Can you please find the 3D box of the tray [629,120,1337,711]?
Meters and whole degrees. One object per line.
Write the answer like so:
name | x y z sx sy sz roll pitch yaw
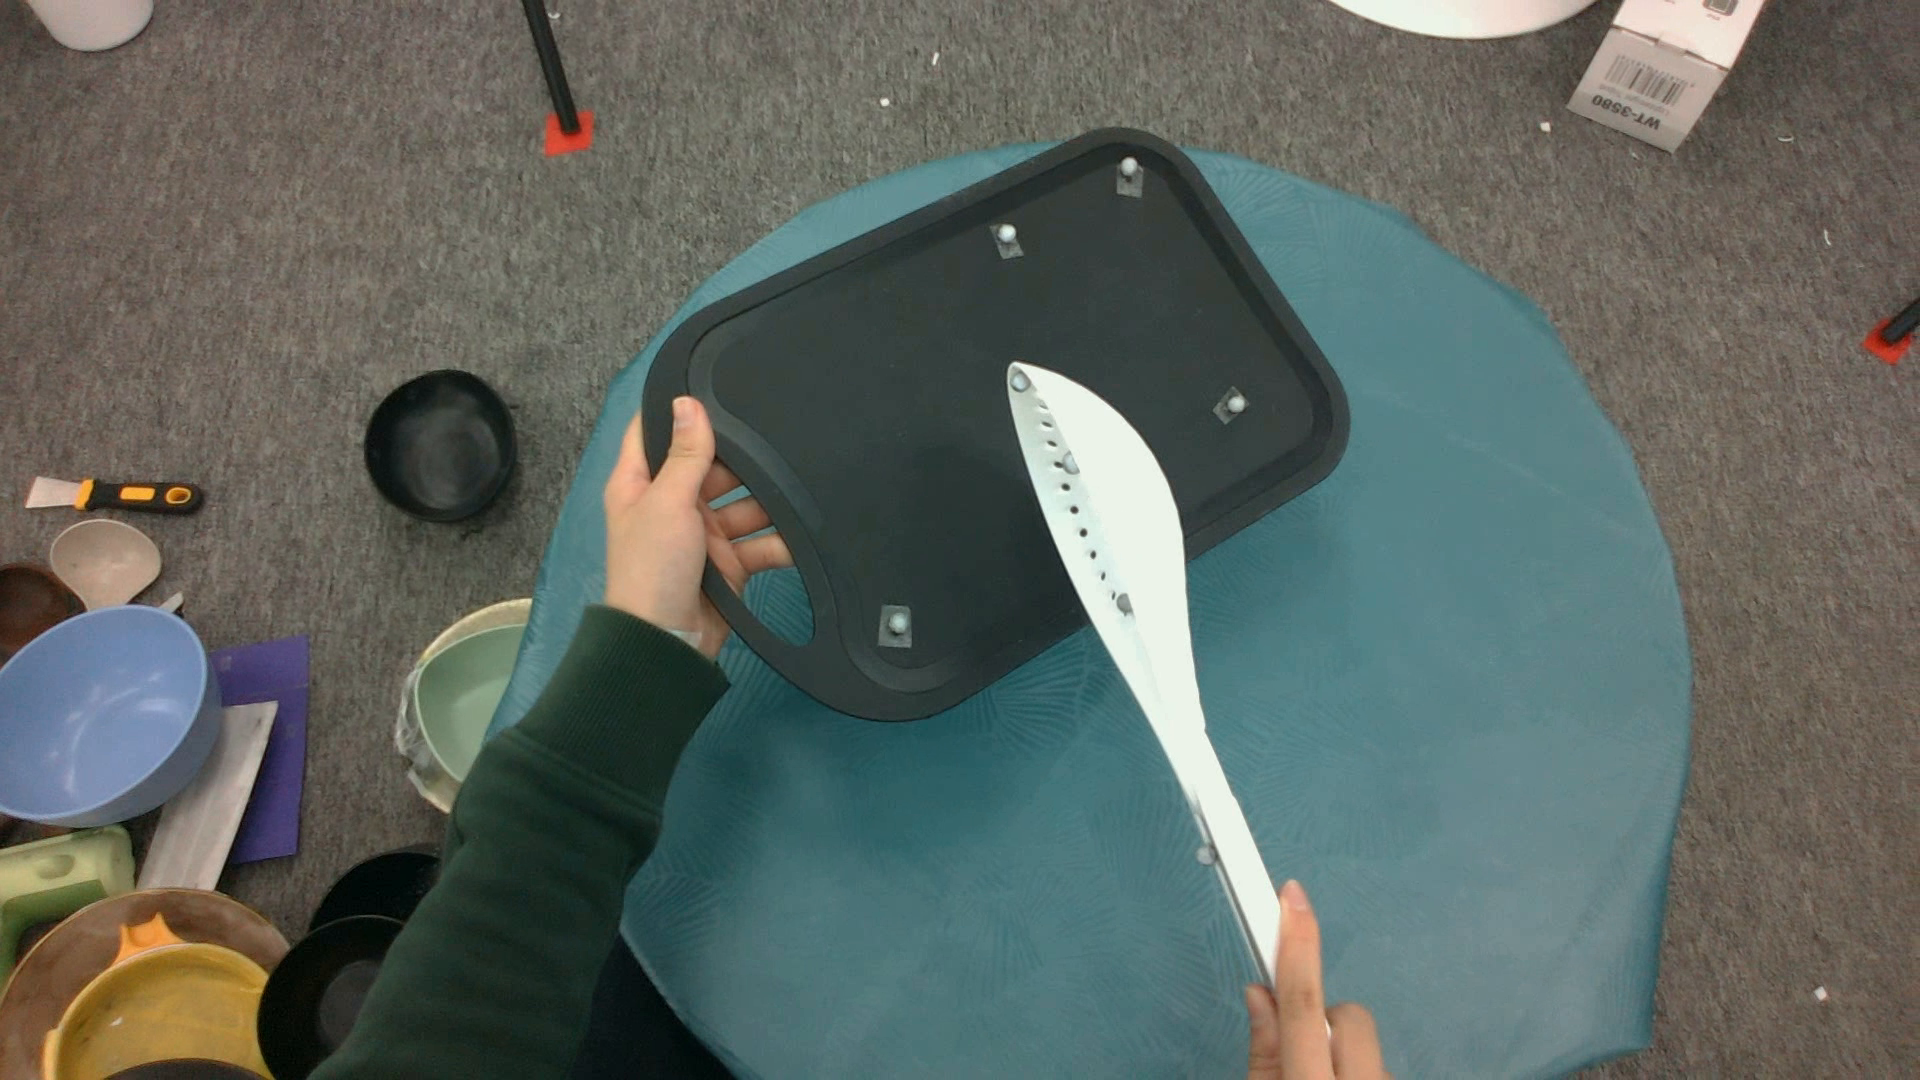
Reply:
tray | 0.016 -0.066 0.631 0.326 0.010 0.211 -30 82 -22

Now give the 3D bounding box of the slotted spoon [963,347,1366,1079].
slotted spoon | 0.085 0.082 0.539 0.046 0.136 0.350 -20 86 -10
